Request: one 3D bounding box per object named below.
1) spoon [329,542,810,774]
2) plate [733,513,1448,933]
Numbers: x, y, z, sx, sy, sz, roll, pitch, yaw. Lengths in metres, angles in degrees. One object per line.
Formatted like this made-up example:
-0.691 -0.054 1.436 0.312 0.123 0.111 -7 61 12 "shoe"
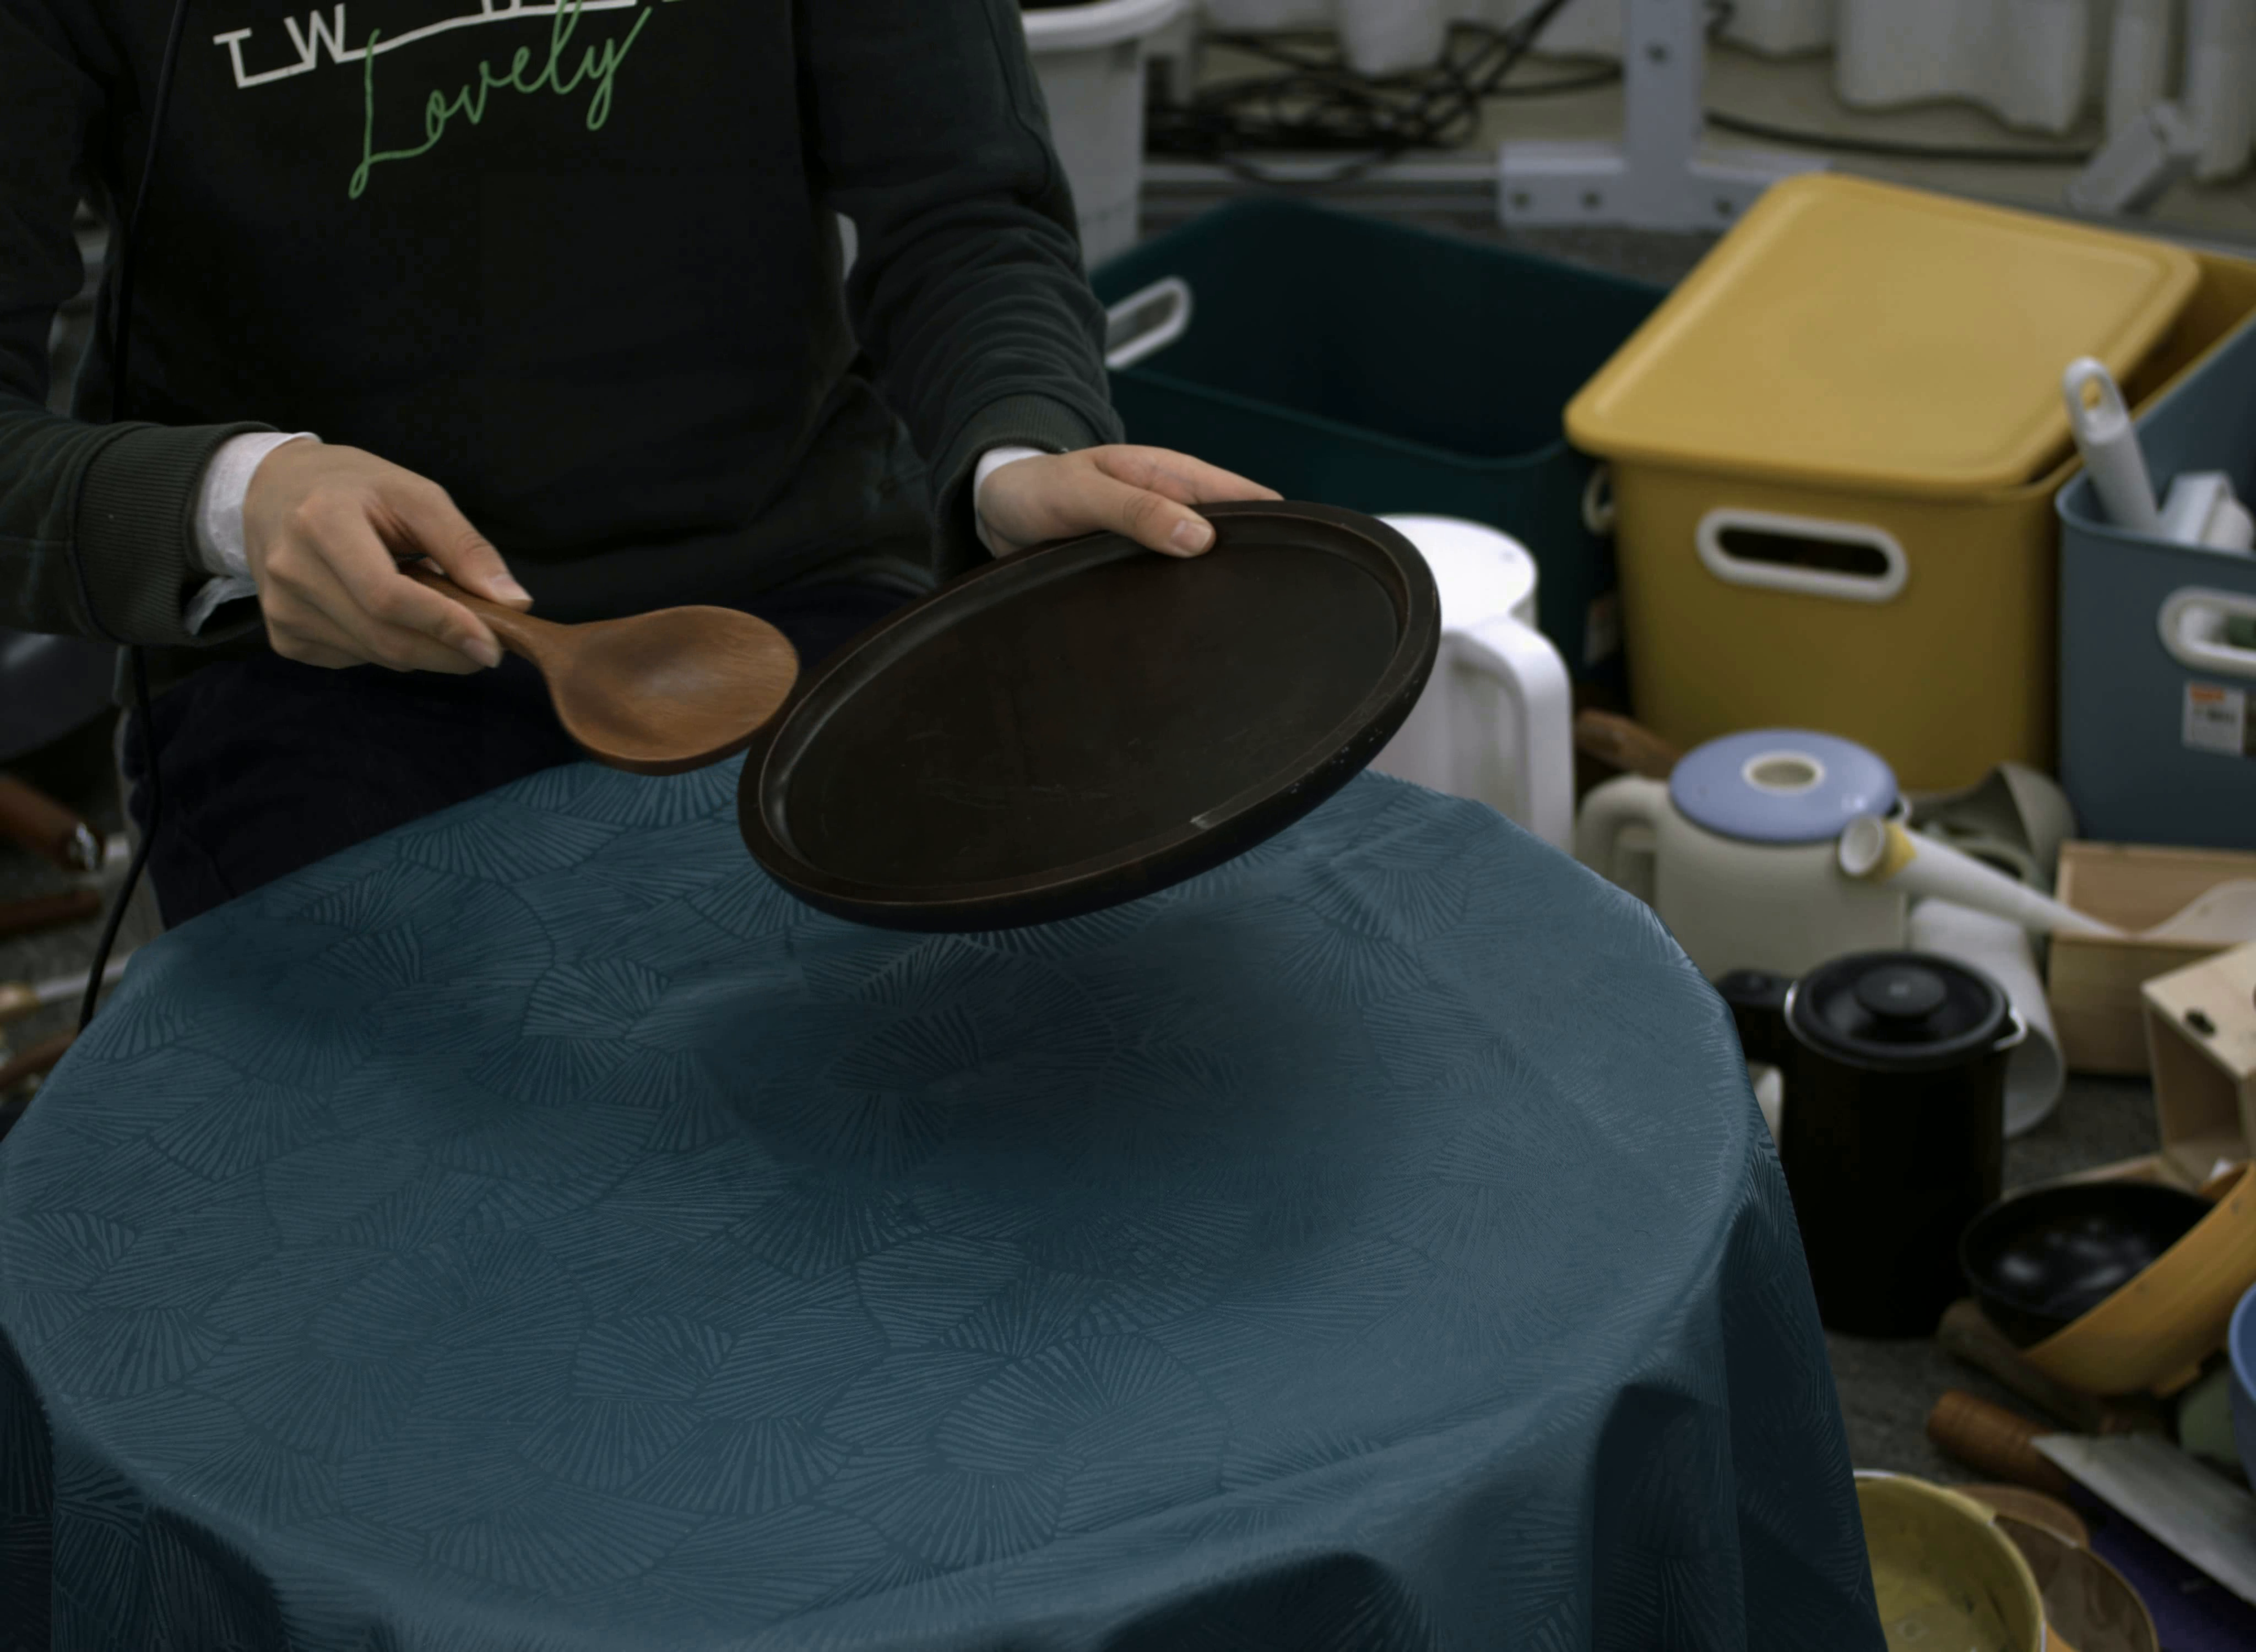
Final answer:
-0.189 -0.061 1.870 0.215 0.017 0.076 20 54 38 "spoon"
-0.011 -0.037 1.915 0.253 0.029 0.259 -14 28 8 "plate"
